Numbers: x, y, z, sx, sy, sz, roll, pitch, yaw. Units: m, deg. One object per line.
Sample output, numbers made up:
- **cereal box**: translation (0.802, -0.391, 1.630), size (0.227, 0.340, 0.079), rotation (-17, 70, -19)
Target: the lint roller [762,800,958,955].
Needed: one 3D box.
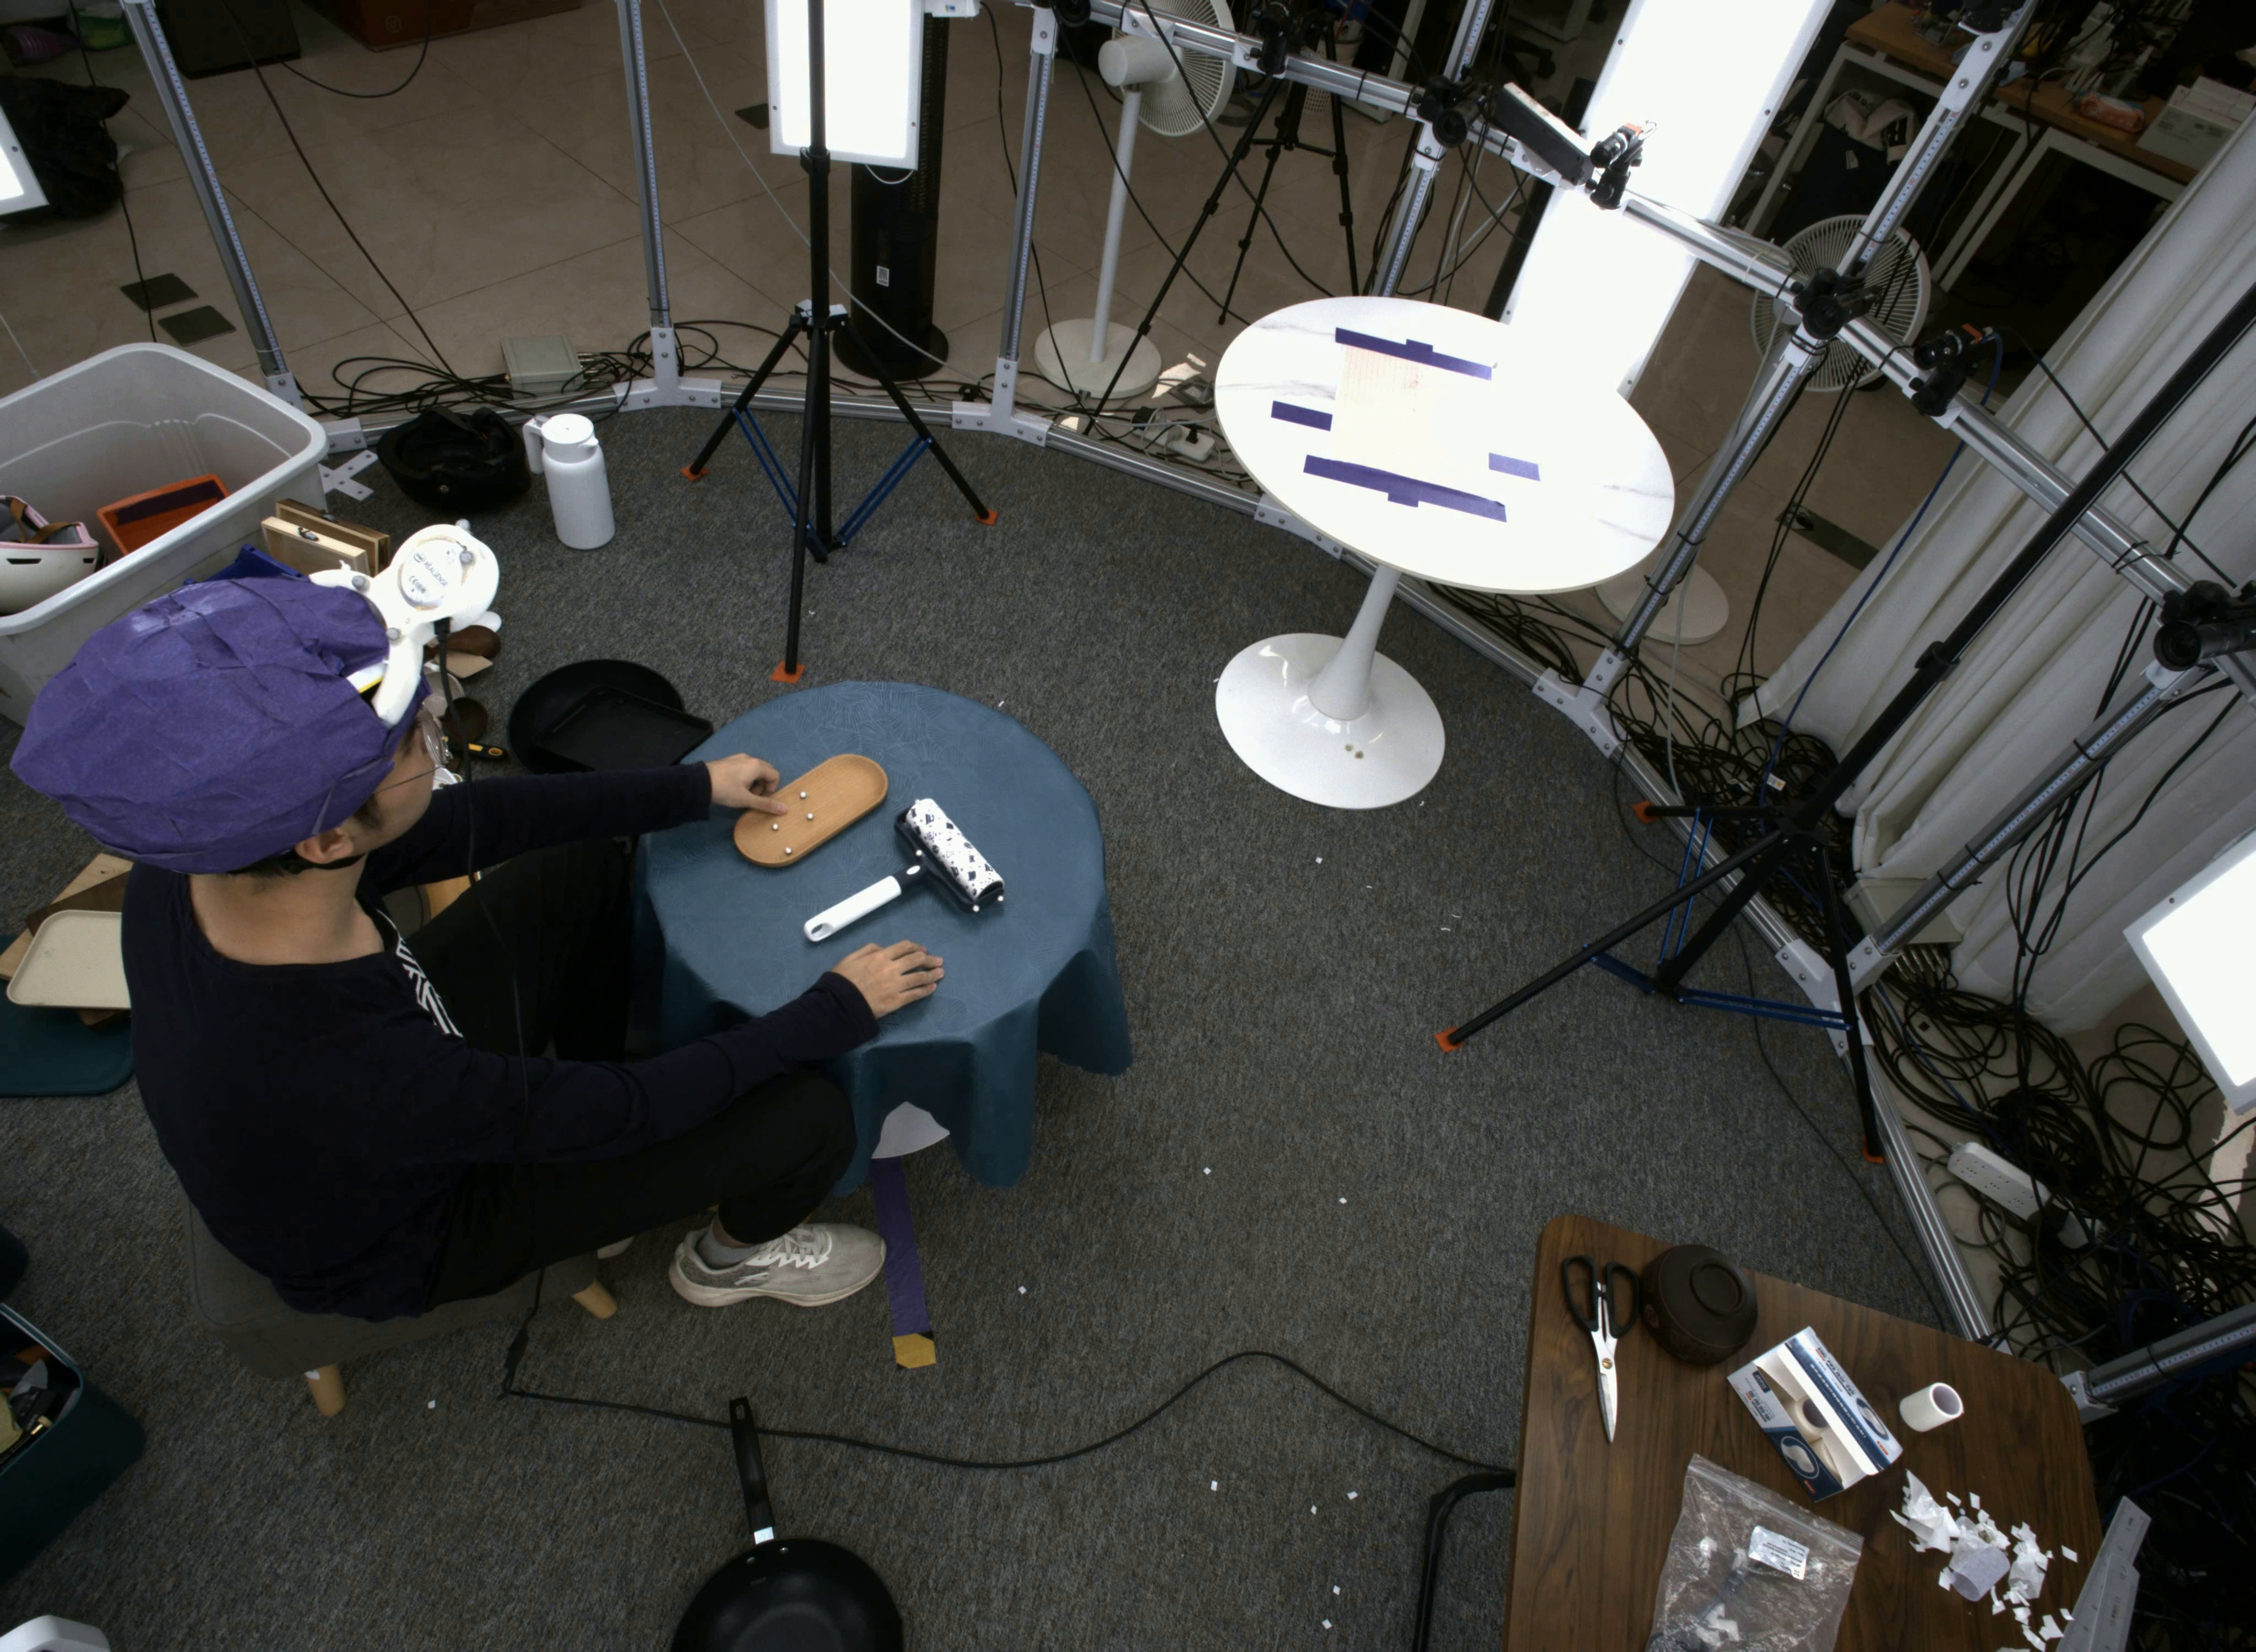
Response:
- **lint roller**: translation (-0.361, 0.084, 1.664), size (0.247, 0.051, 0.172), rotation (-36, 70, -29)

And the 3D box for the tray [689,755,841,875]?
- **tray**: translation (-0.482, -0.017, 1.723), size (0.100, 0.020, 0.231), rotation (39, 53, 12)
